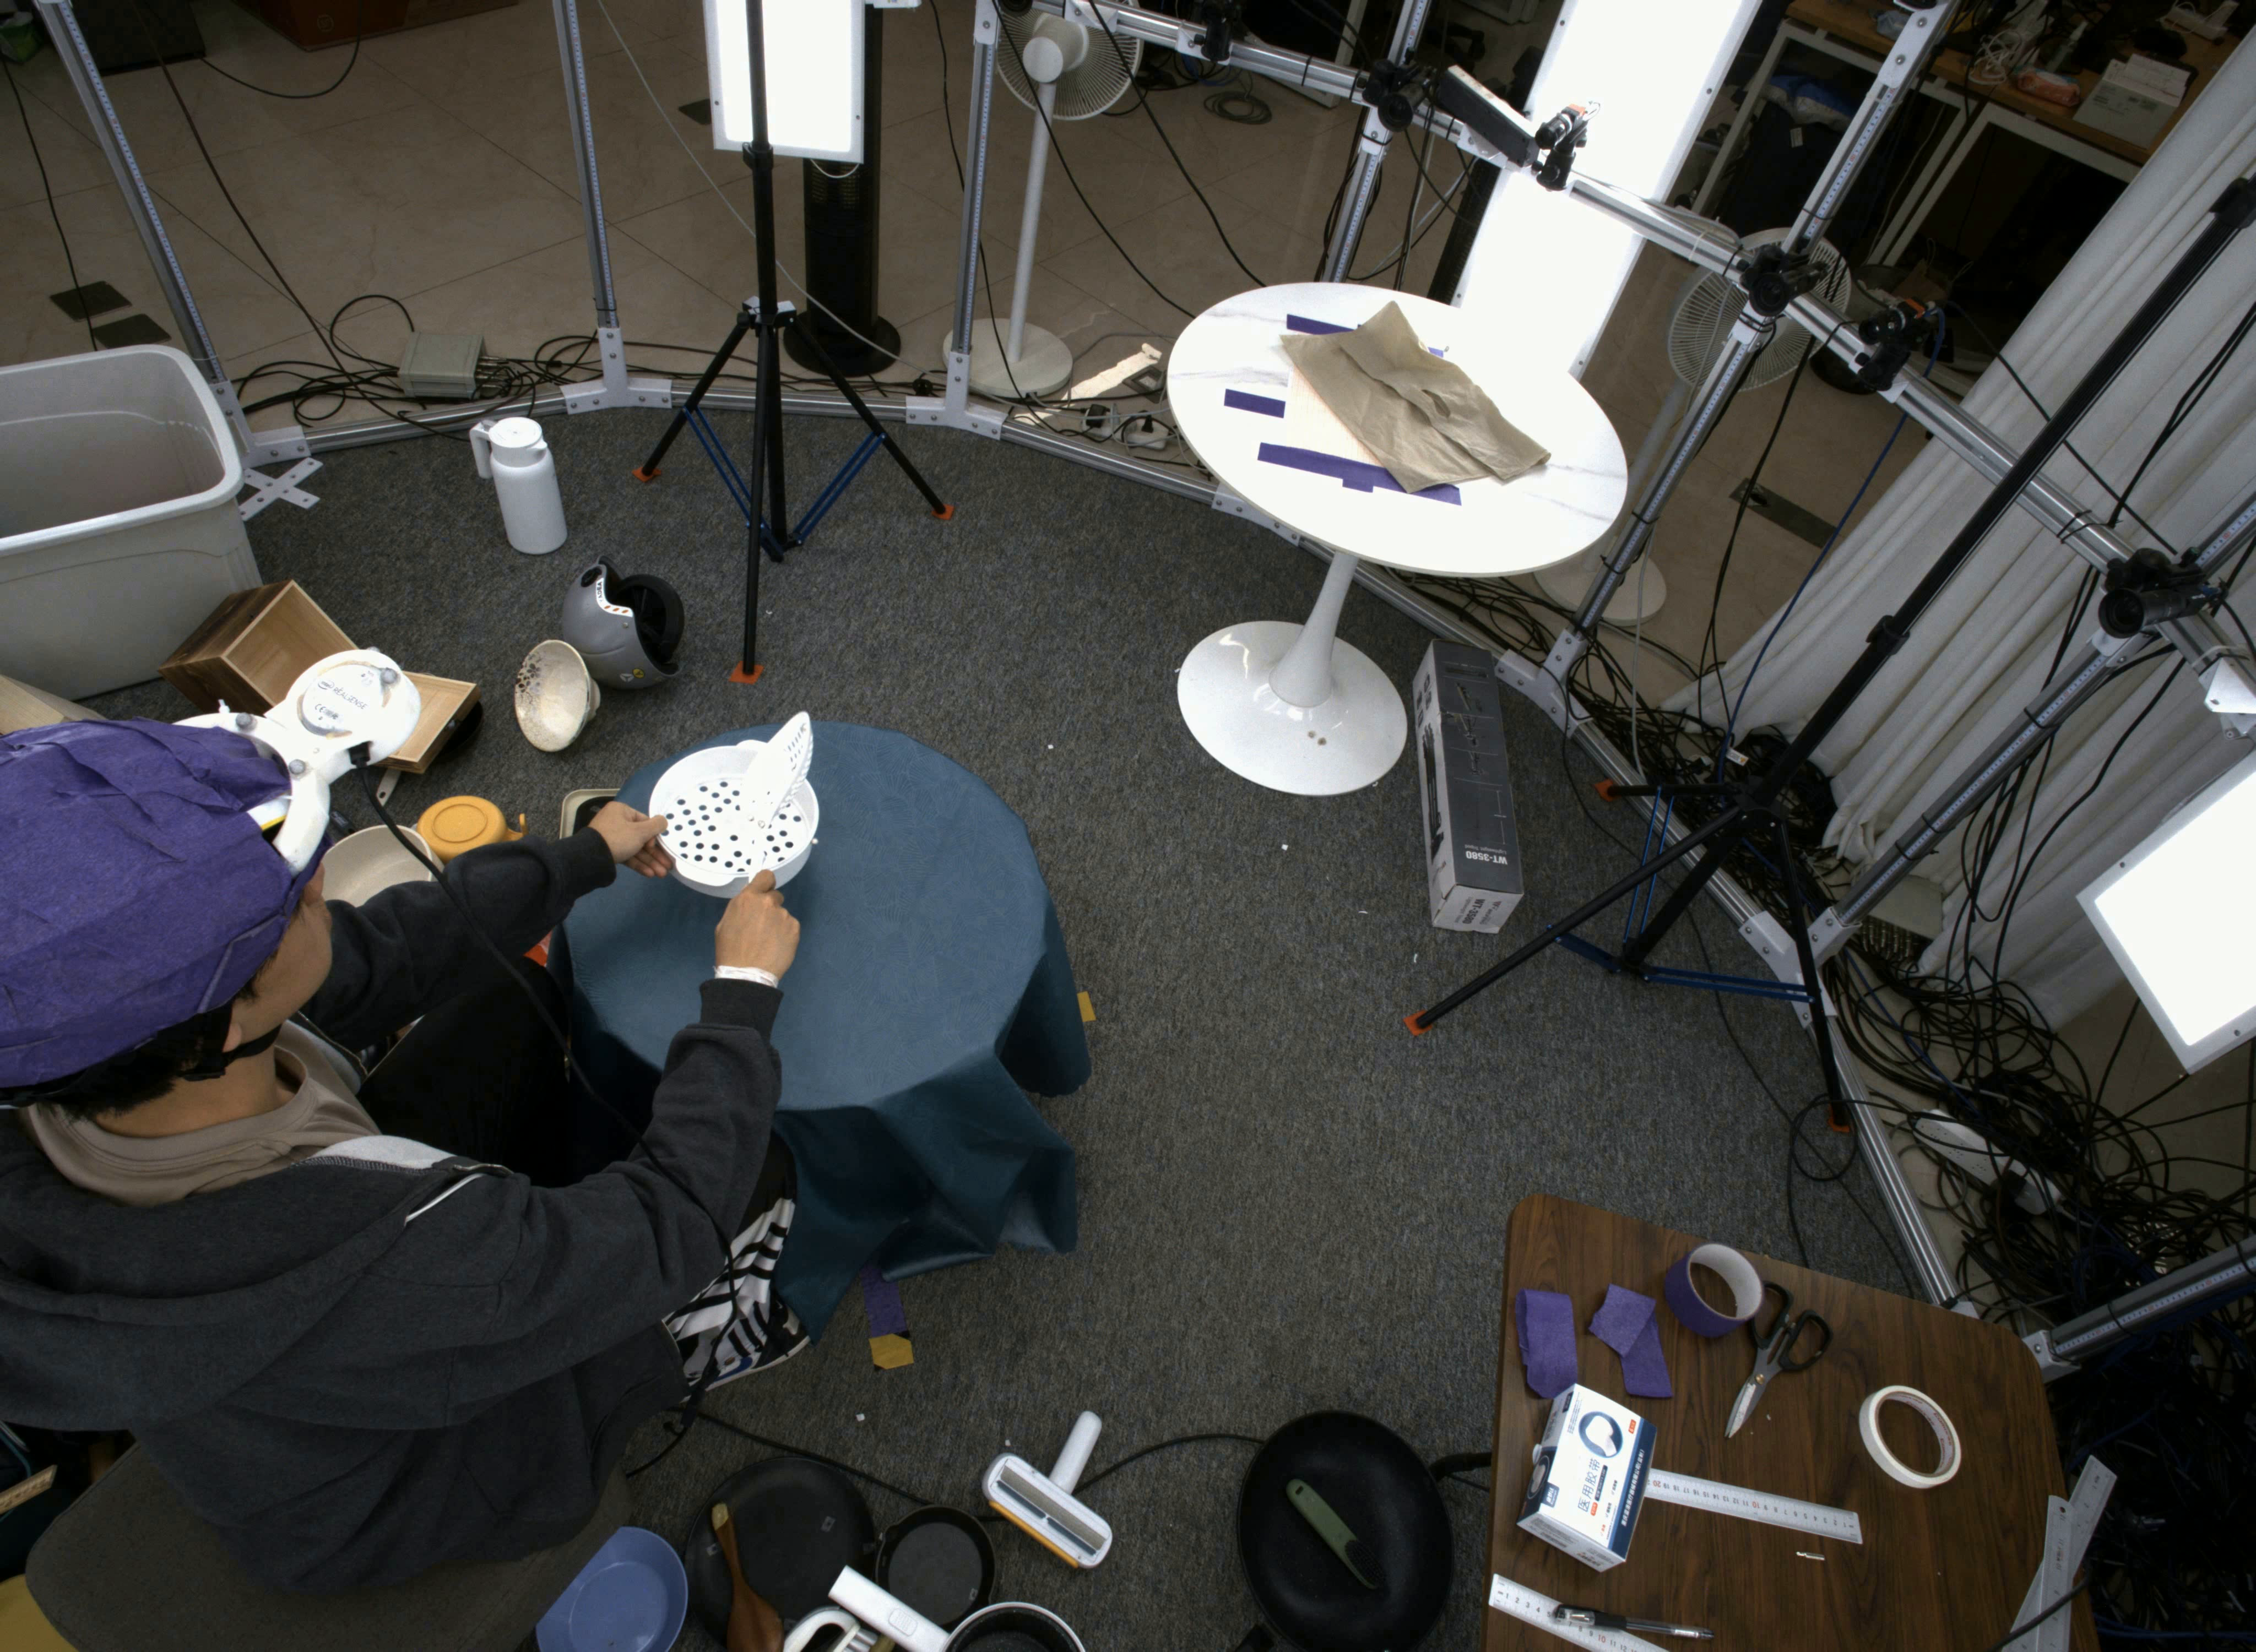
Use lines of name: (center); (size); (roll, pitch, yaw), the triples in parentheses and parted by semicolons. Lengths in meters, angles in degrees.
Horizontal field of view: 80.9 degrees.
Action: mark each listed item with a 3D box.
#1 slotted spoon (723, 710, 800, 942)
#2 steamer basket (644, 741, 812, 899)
slotted spoon: (-0.407, 0.002, 1.435); (0.052, 0.136, 0.339); (37, 25, -30)
steamer basket: (-0.496, -0.003, 1.603); (0.201, 0.070, 0.227); (17, 49, -6)
